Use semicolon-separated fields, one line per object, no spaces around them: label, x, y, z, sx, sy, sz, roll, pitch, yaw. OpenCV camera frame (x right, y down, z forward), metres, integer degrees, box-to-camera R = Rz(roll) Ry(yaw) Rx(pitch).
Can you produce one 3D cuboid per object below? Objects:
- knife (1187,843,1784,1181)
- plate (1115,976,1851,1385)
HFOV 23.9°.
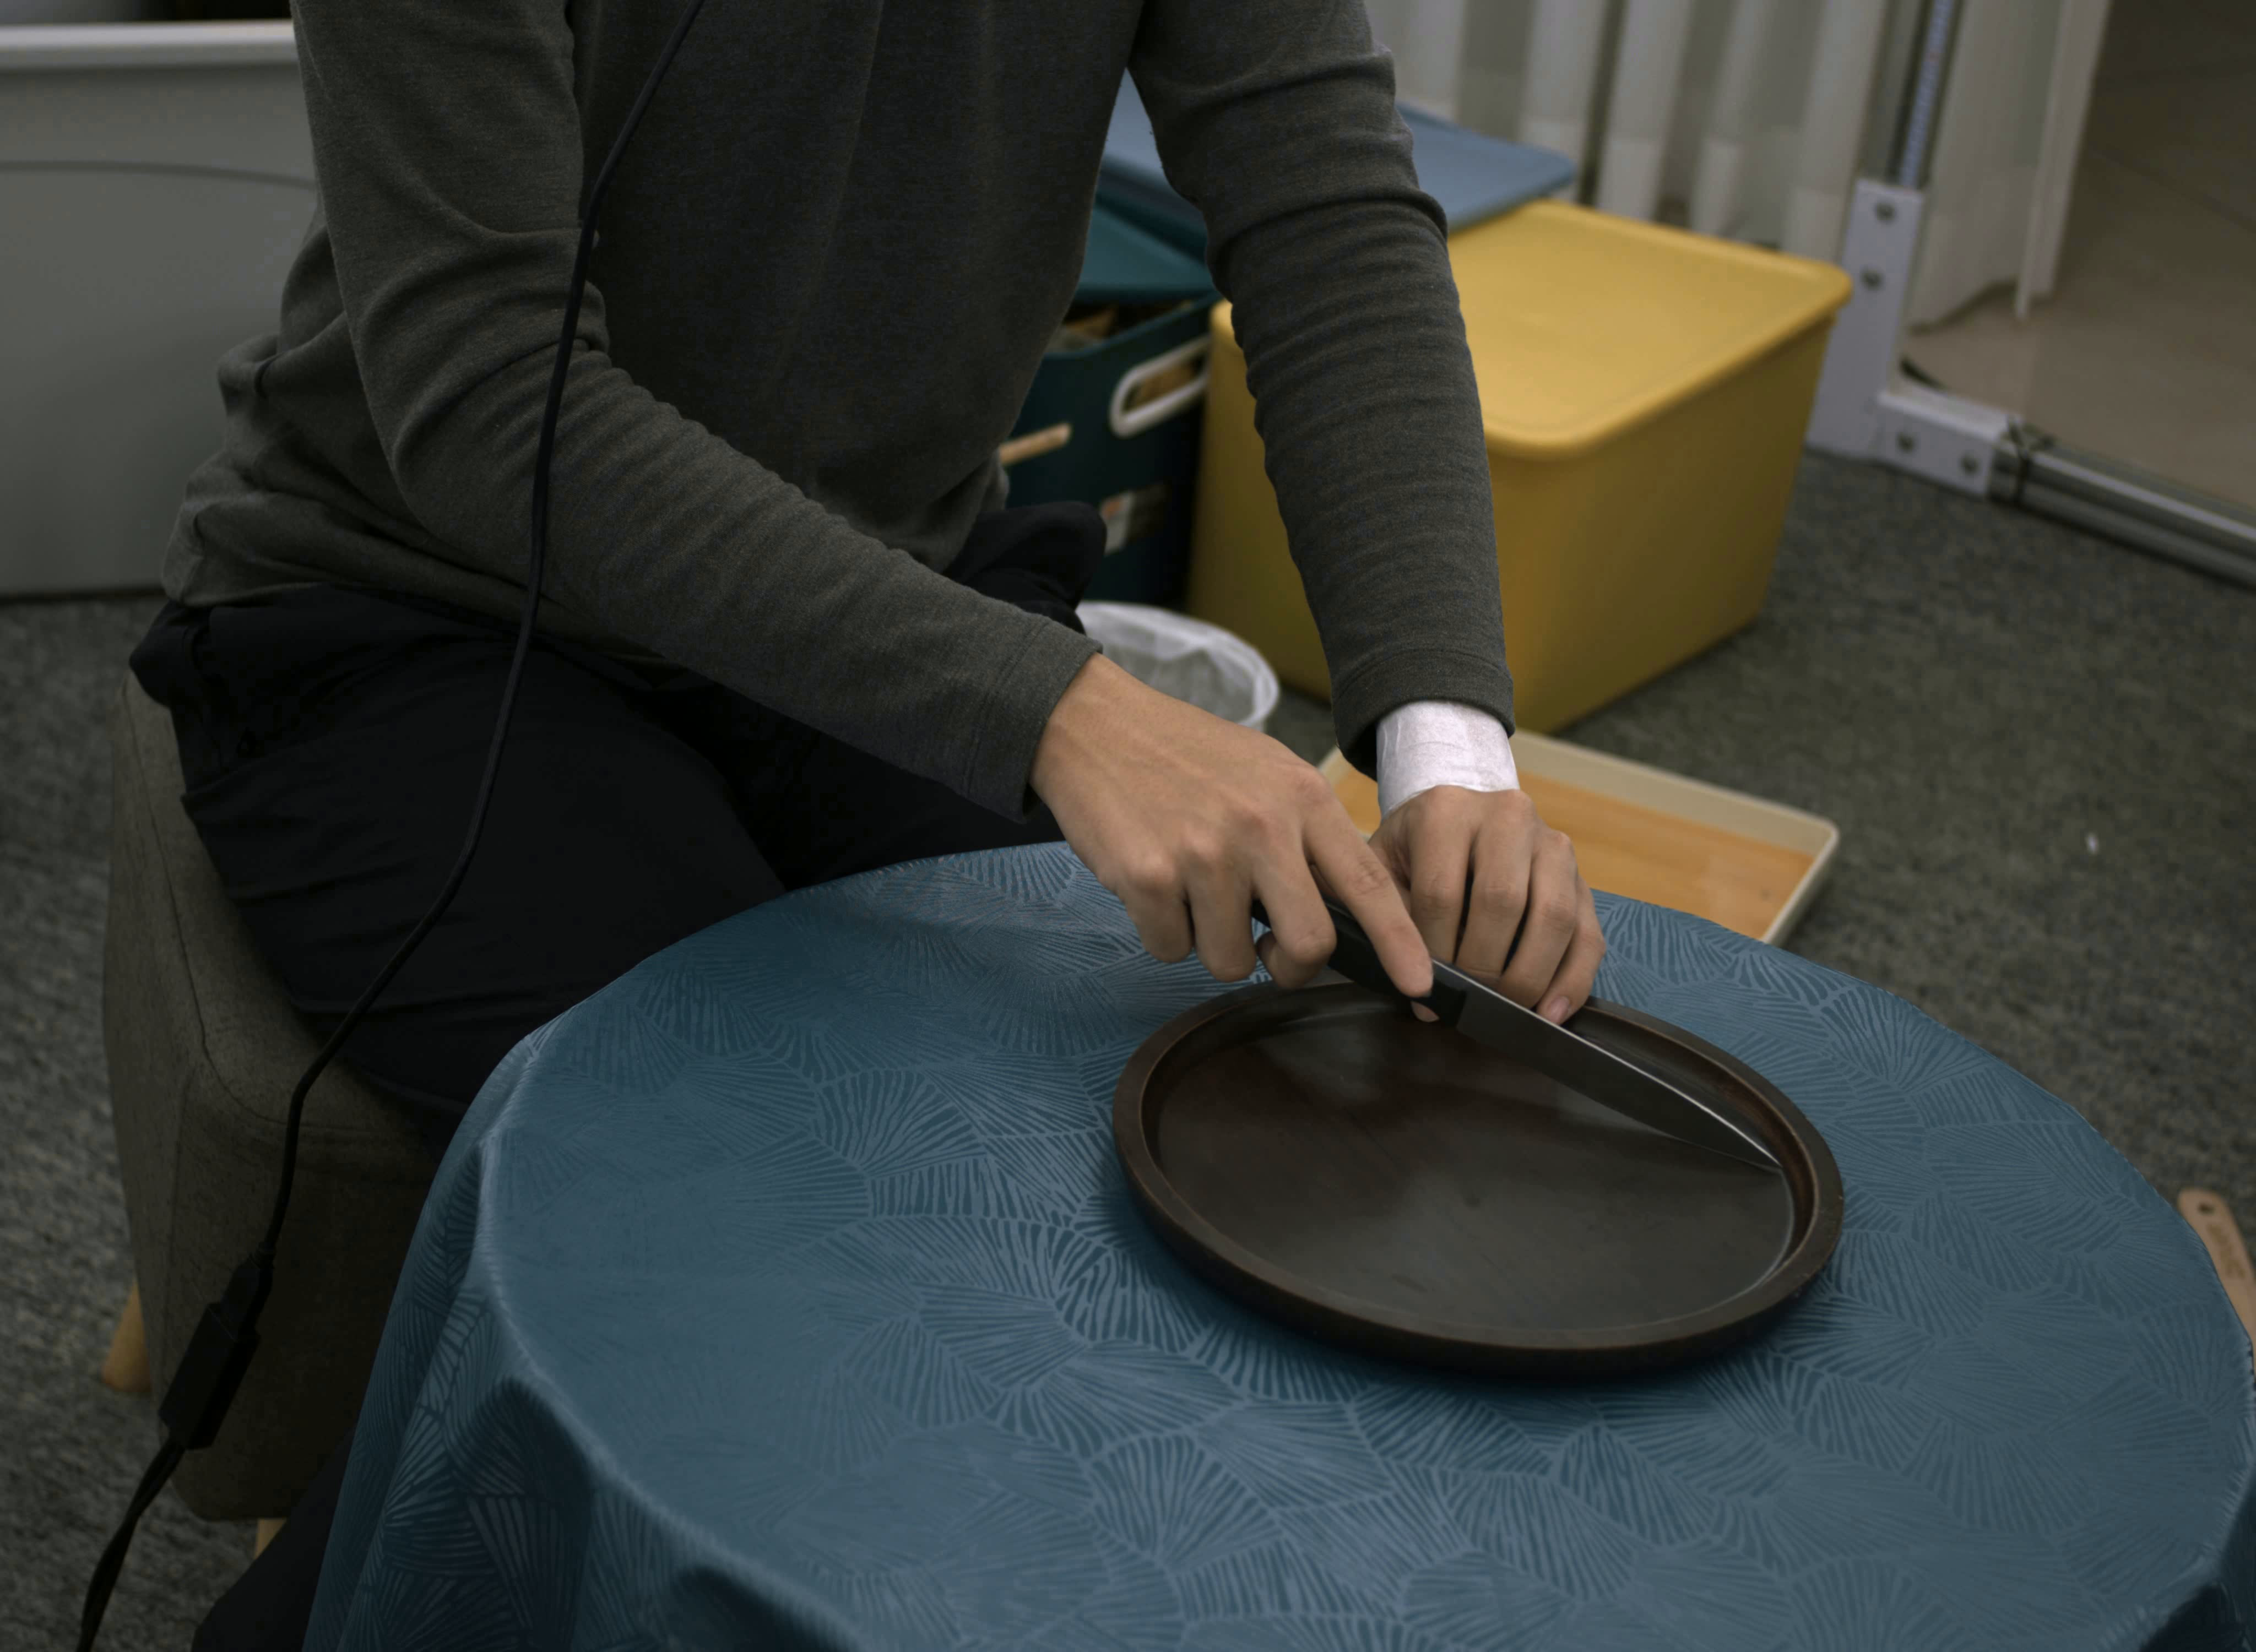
knife;0.126;0.065;1.865;0.239;0.024;0.016;28;27;15
plate;0.120;0.118;1.818;0.254;0.029;0.256;6;27;-3
